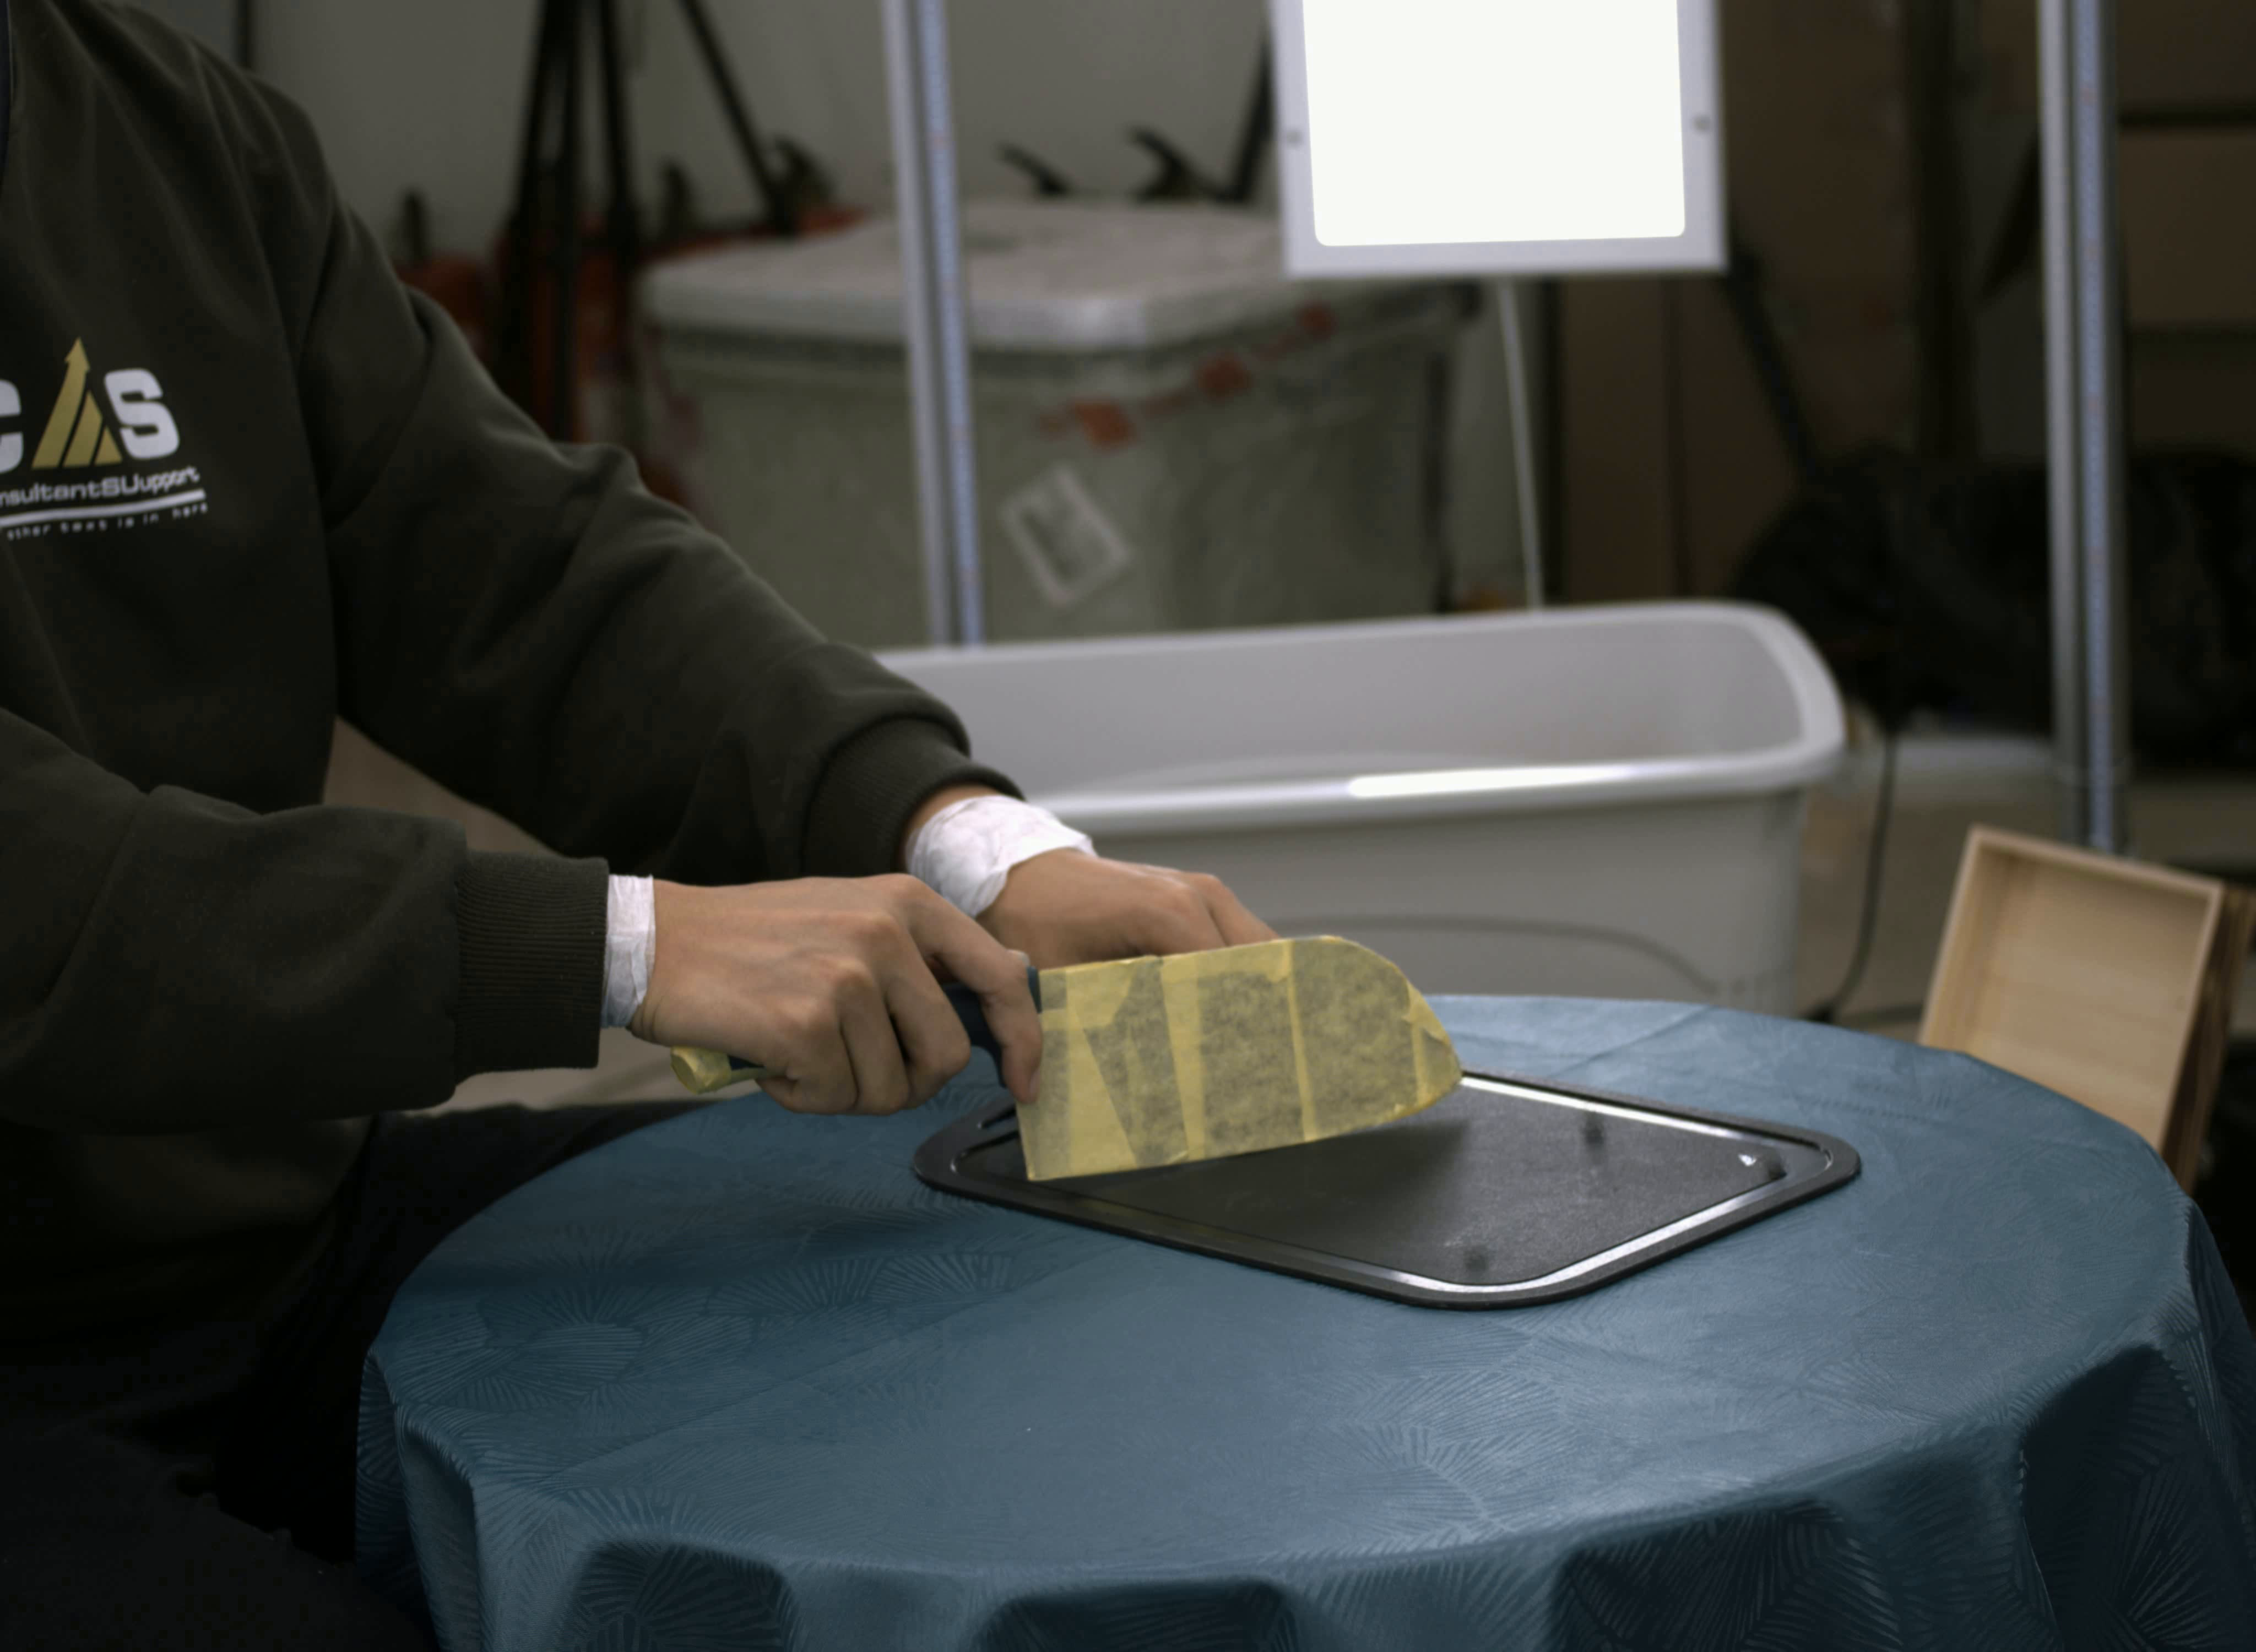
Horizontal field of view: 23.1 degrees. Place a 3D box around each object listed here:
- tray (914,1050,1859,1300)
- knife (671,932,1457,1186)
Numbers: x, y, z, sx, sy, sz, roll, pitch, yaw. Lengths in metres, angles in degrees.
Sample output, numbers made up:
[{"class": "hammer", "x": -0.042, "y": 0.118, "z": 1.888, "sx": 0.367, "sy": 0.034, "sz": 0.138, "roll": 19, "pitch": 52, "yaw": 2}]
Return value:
[{"class": "tray", "x": 0.080, "y": 0.113, "z": 1.912, "sx": 0.206, "sy": 0.010, "sz": 0.332, "roll": -17, "pitch": 18, "yaw": -41}, {"class": "knife", "x": -0.018, "y": 0.083, "z": 1.910, "sx": 0.285, "sy": 0.081, "sz": 0.027, "roll": -4, "pitch": -5, "yaw": -17}]
